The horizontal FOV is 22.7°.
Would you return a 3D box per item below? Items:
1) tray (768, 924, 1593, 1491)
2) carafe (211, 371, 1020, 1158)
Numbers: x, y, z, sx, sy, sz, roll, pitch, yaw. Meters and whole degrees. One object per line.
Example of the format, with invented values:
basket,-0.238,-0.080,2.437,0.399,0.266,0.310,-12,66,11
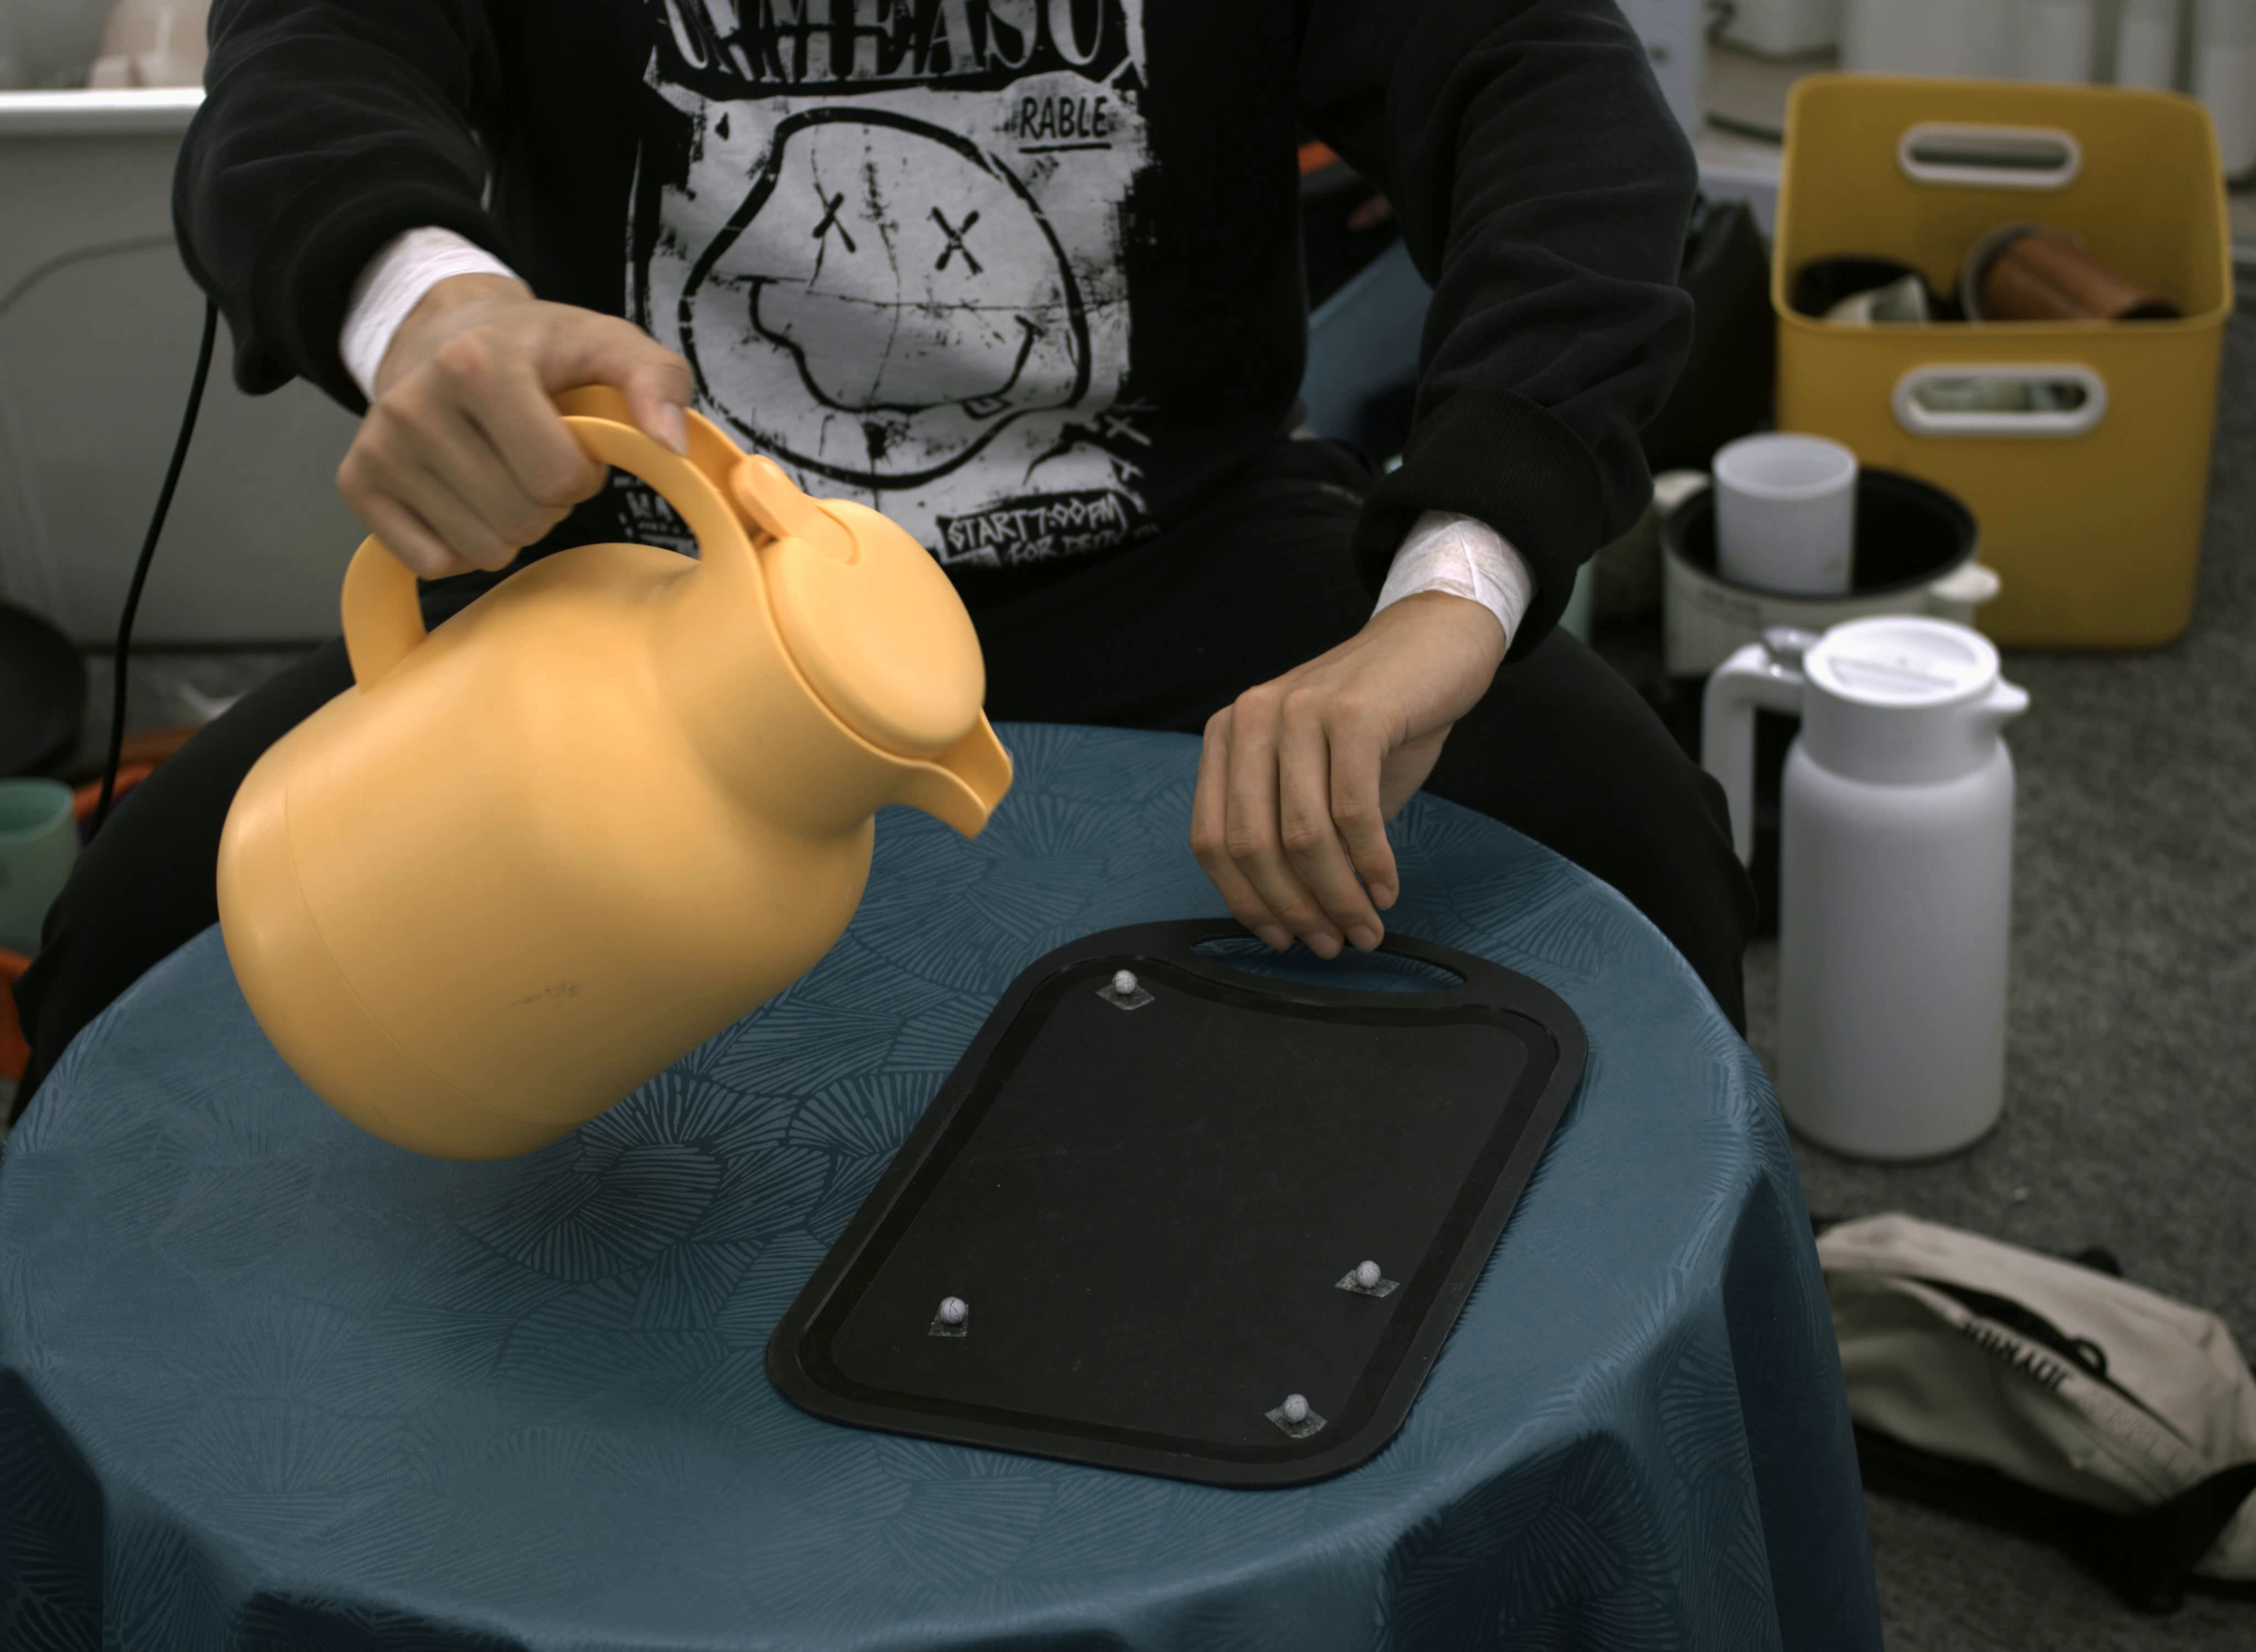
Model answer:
tray,0.024,0.114,1.855,0.209,0.009,0.331,8,31,18
carafe,-0.173,-0.025,1.810,0.257,0.202,0.166,-31,11,26
